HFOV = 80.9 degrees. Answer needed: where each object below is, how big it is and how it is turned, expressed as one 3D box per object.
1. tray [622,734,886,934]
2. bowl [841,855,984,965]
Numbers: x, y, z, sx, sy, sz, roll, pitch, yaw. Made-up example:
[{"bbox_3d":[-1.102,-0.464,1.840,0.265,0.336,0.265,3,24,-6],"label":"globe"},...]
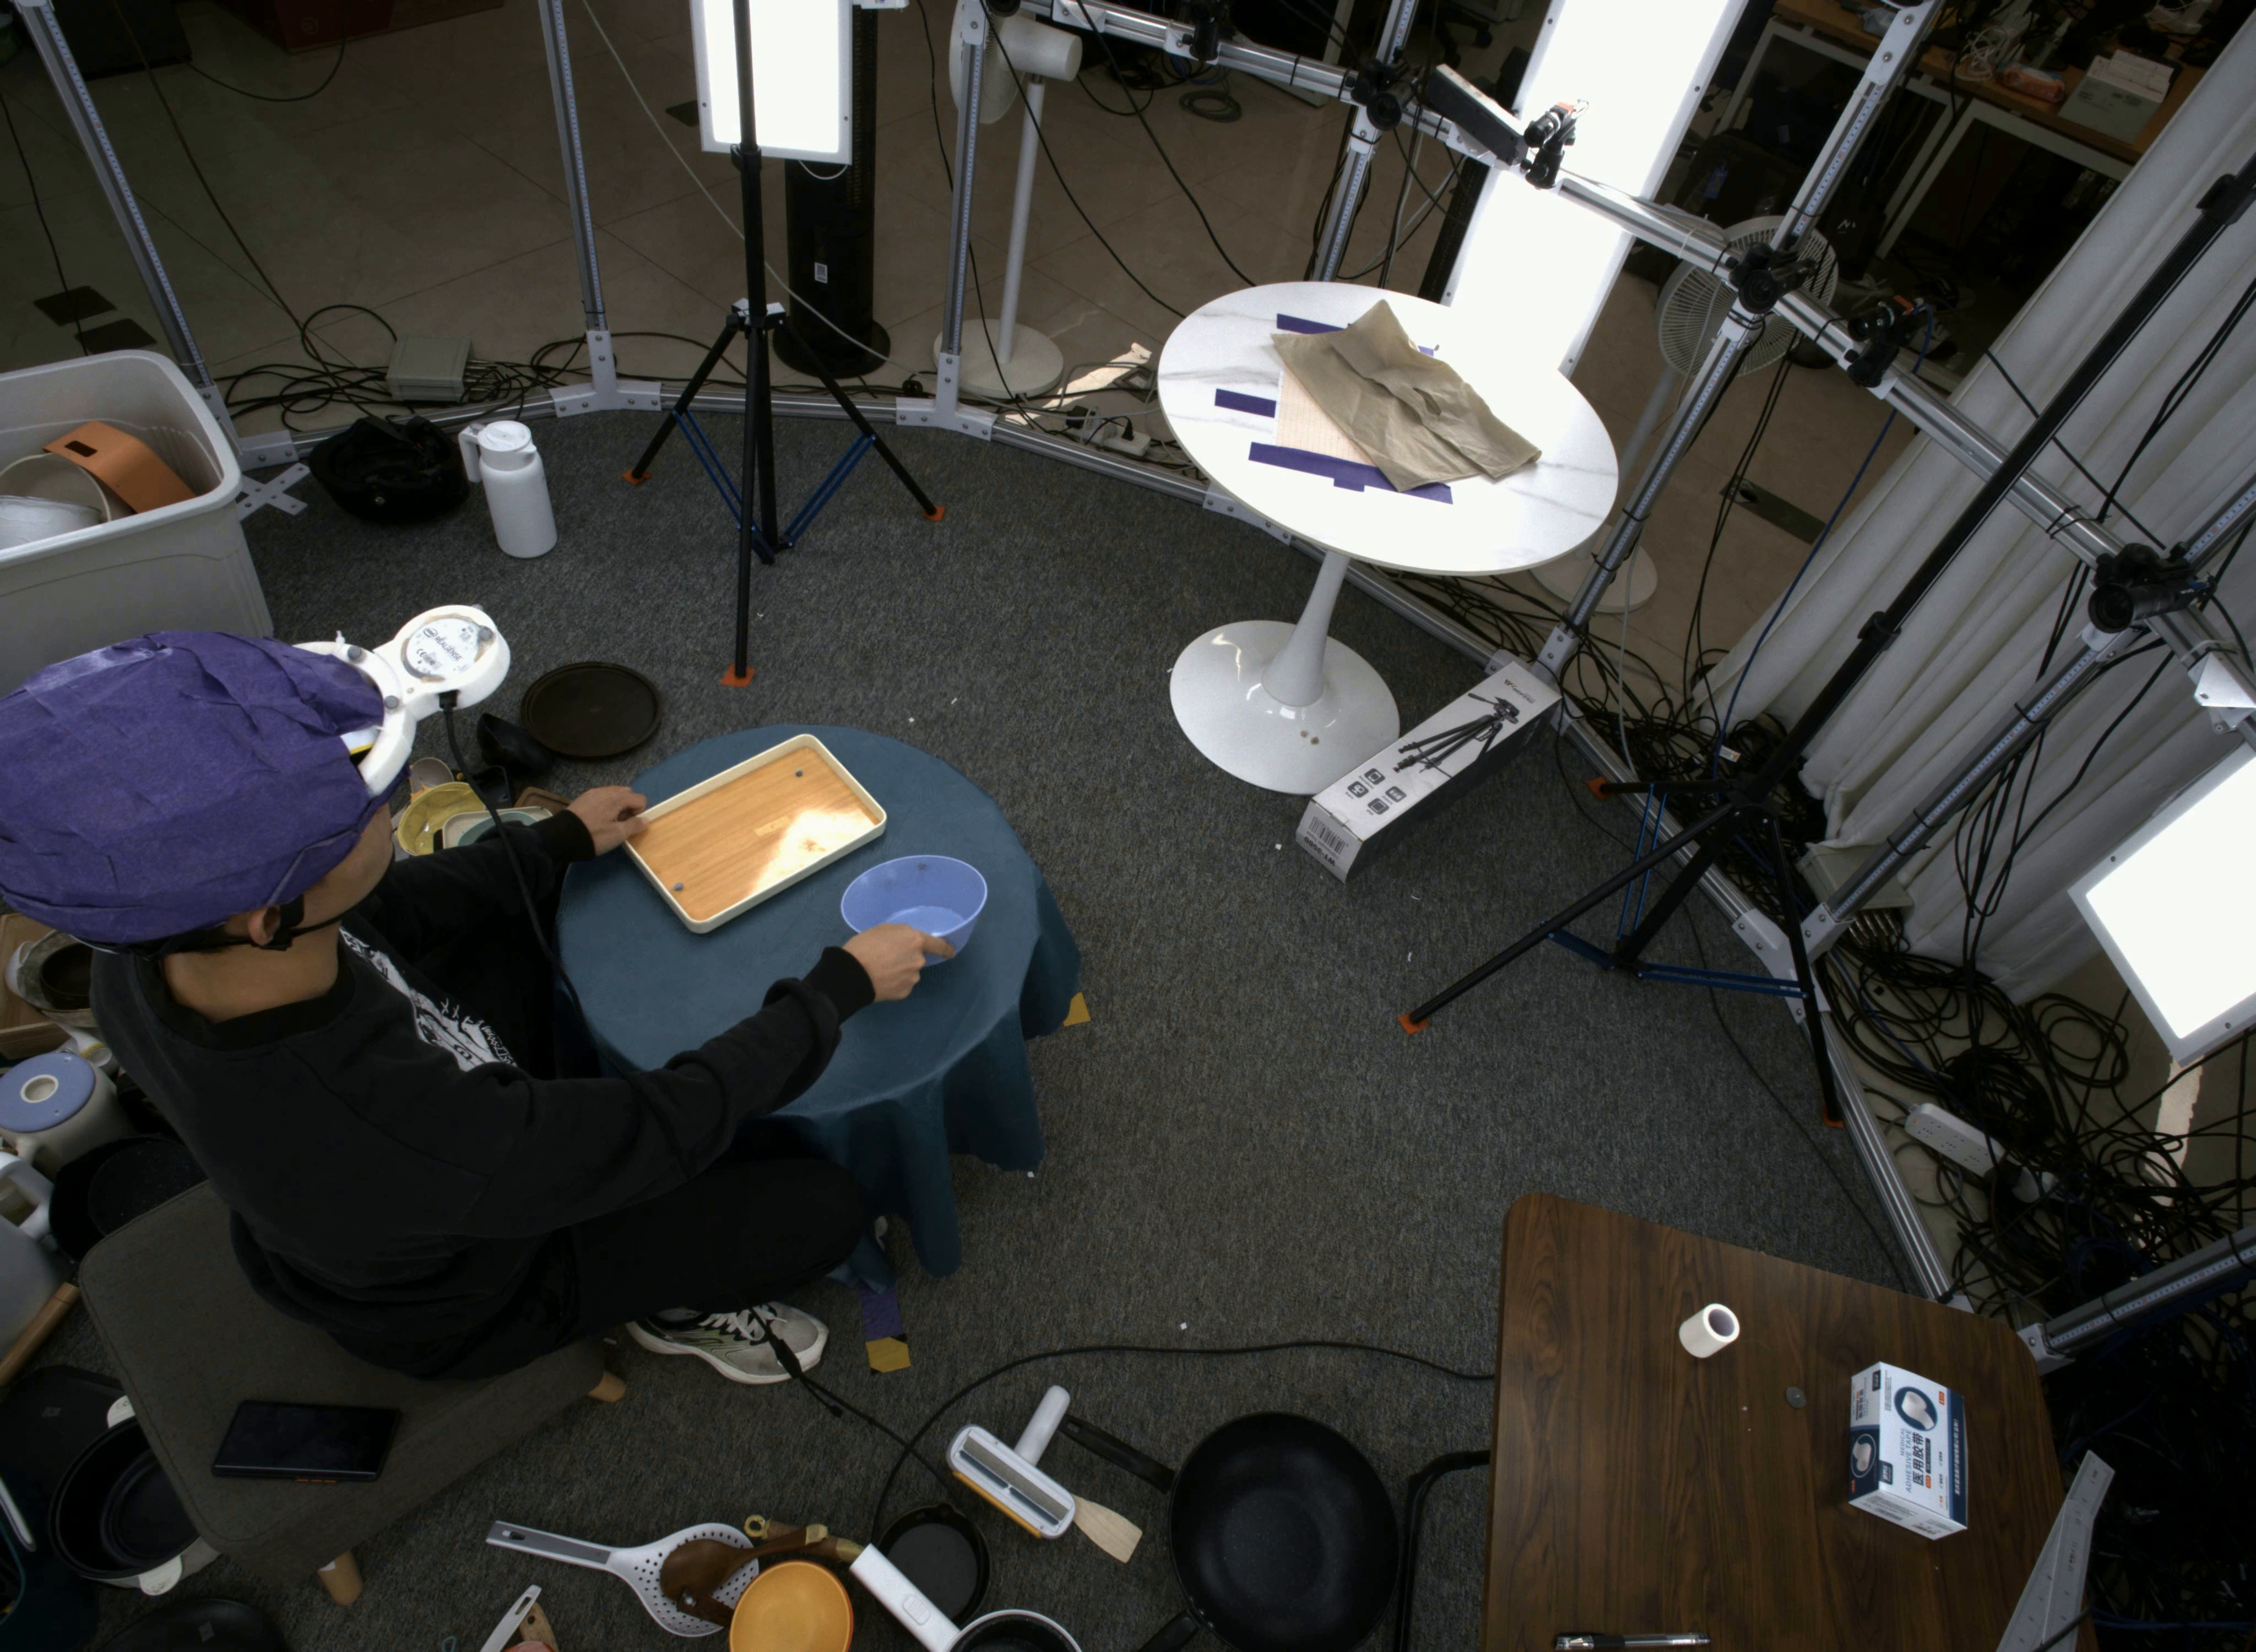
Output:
[{"bbox_3d":[-0.486,0.002,1.688,0.301,0.028,0.187,-33,68,-34],"label":"tray"},{"bbox_3d":[-0.258,0.108,1.589,0.174,0.072,0.172,-1,32,2],"label":"bowl"}]
